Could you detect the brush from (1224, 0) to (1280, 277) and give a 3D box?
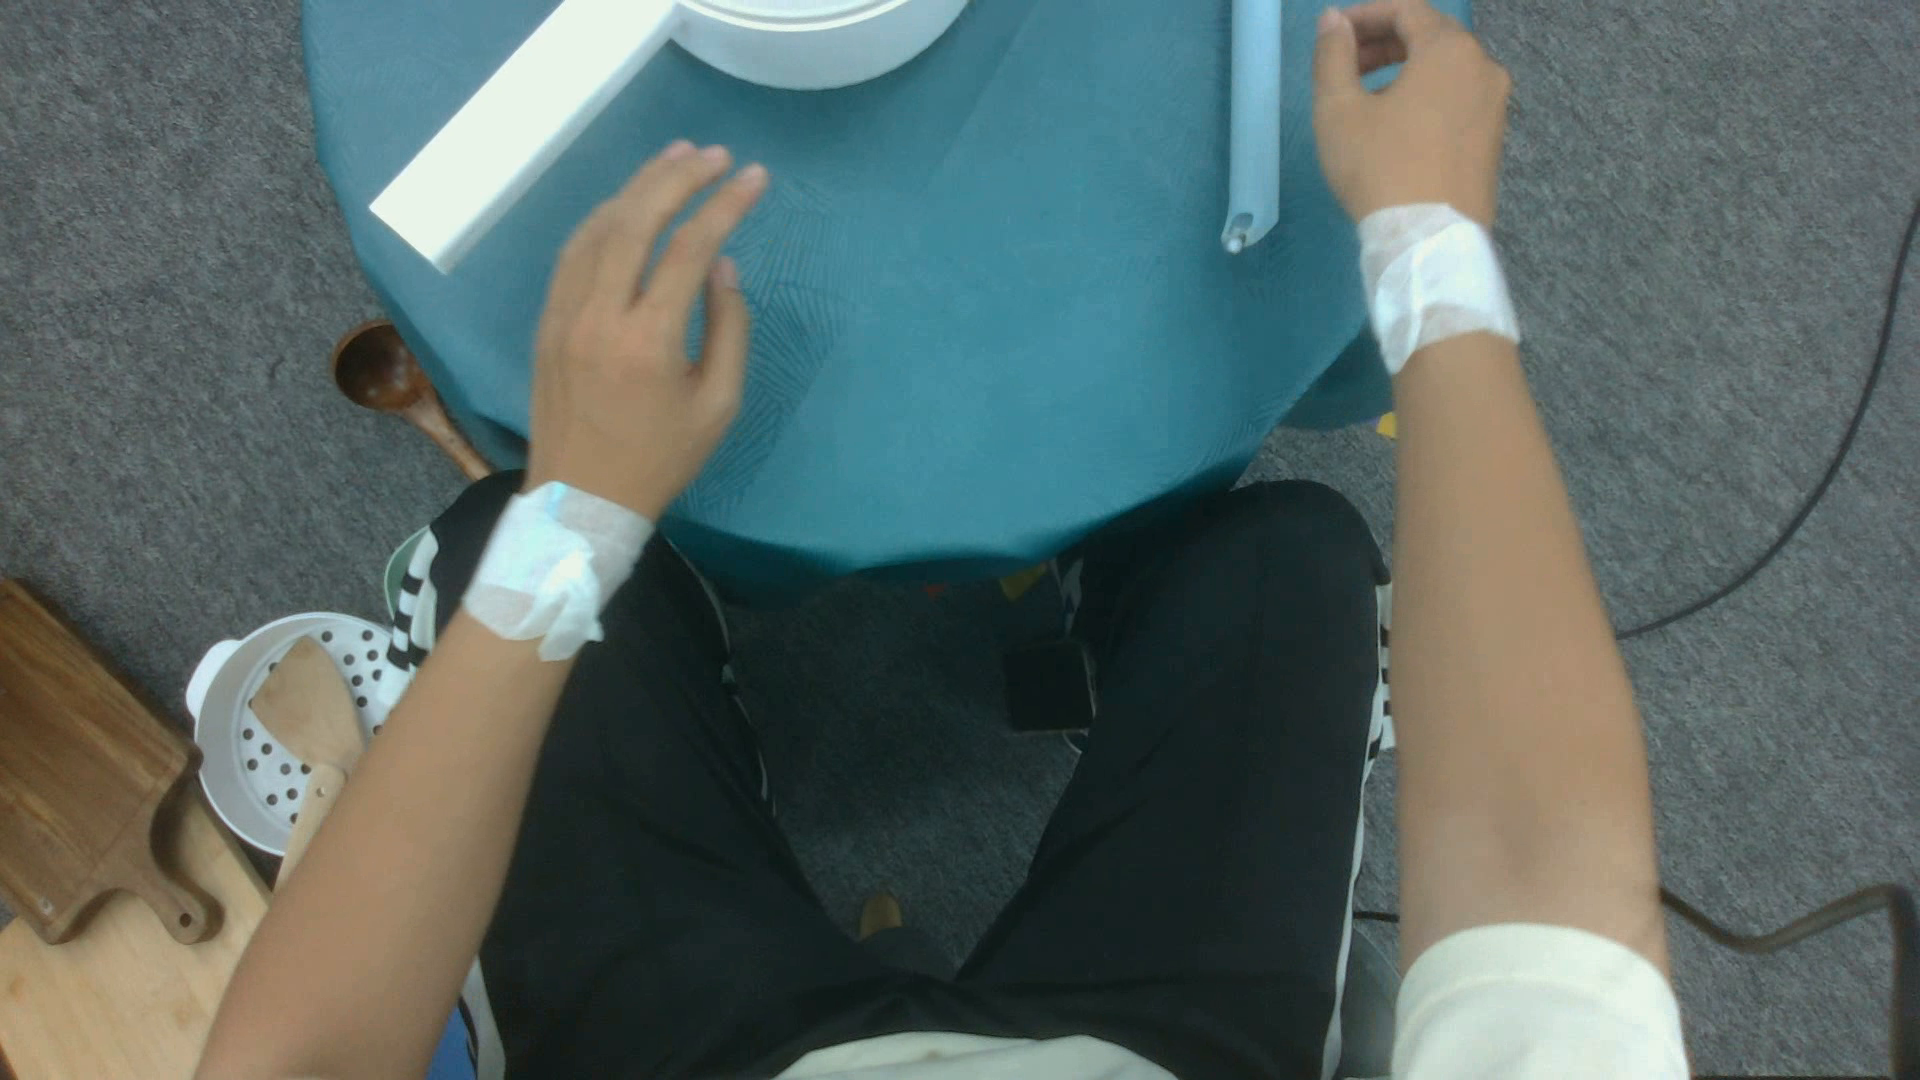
[{"bbox_3d":[0.130,-0.296,0.688,0.084,0.083,0.326,3,83,-8],"label":"brush"}]

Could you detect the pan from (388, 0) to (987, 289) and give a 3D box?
[{"bbox_3d":[-0.125,-0.256,0.667,0.201,0.102,0.355,40,85,3],"label":"pan"}]
